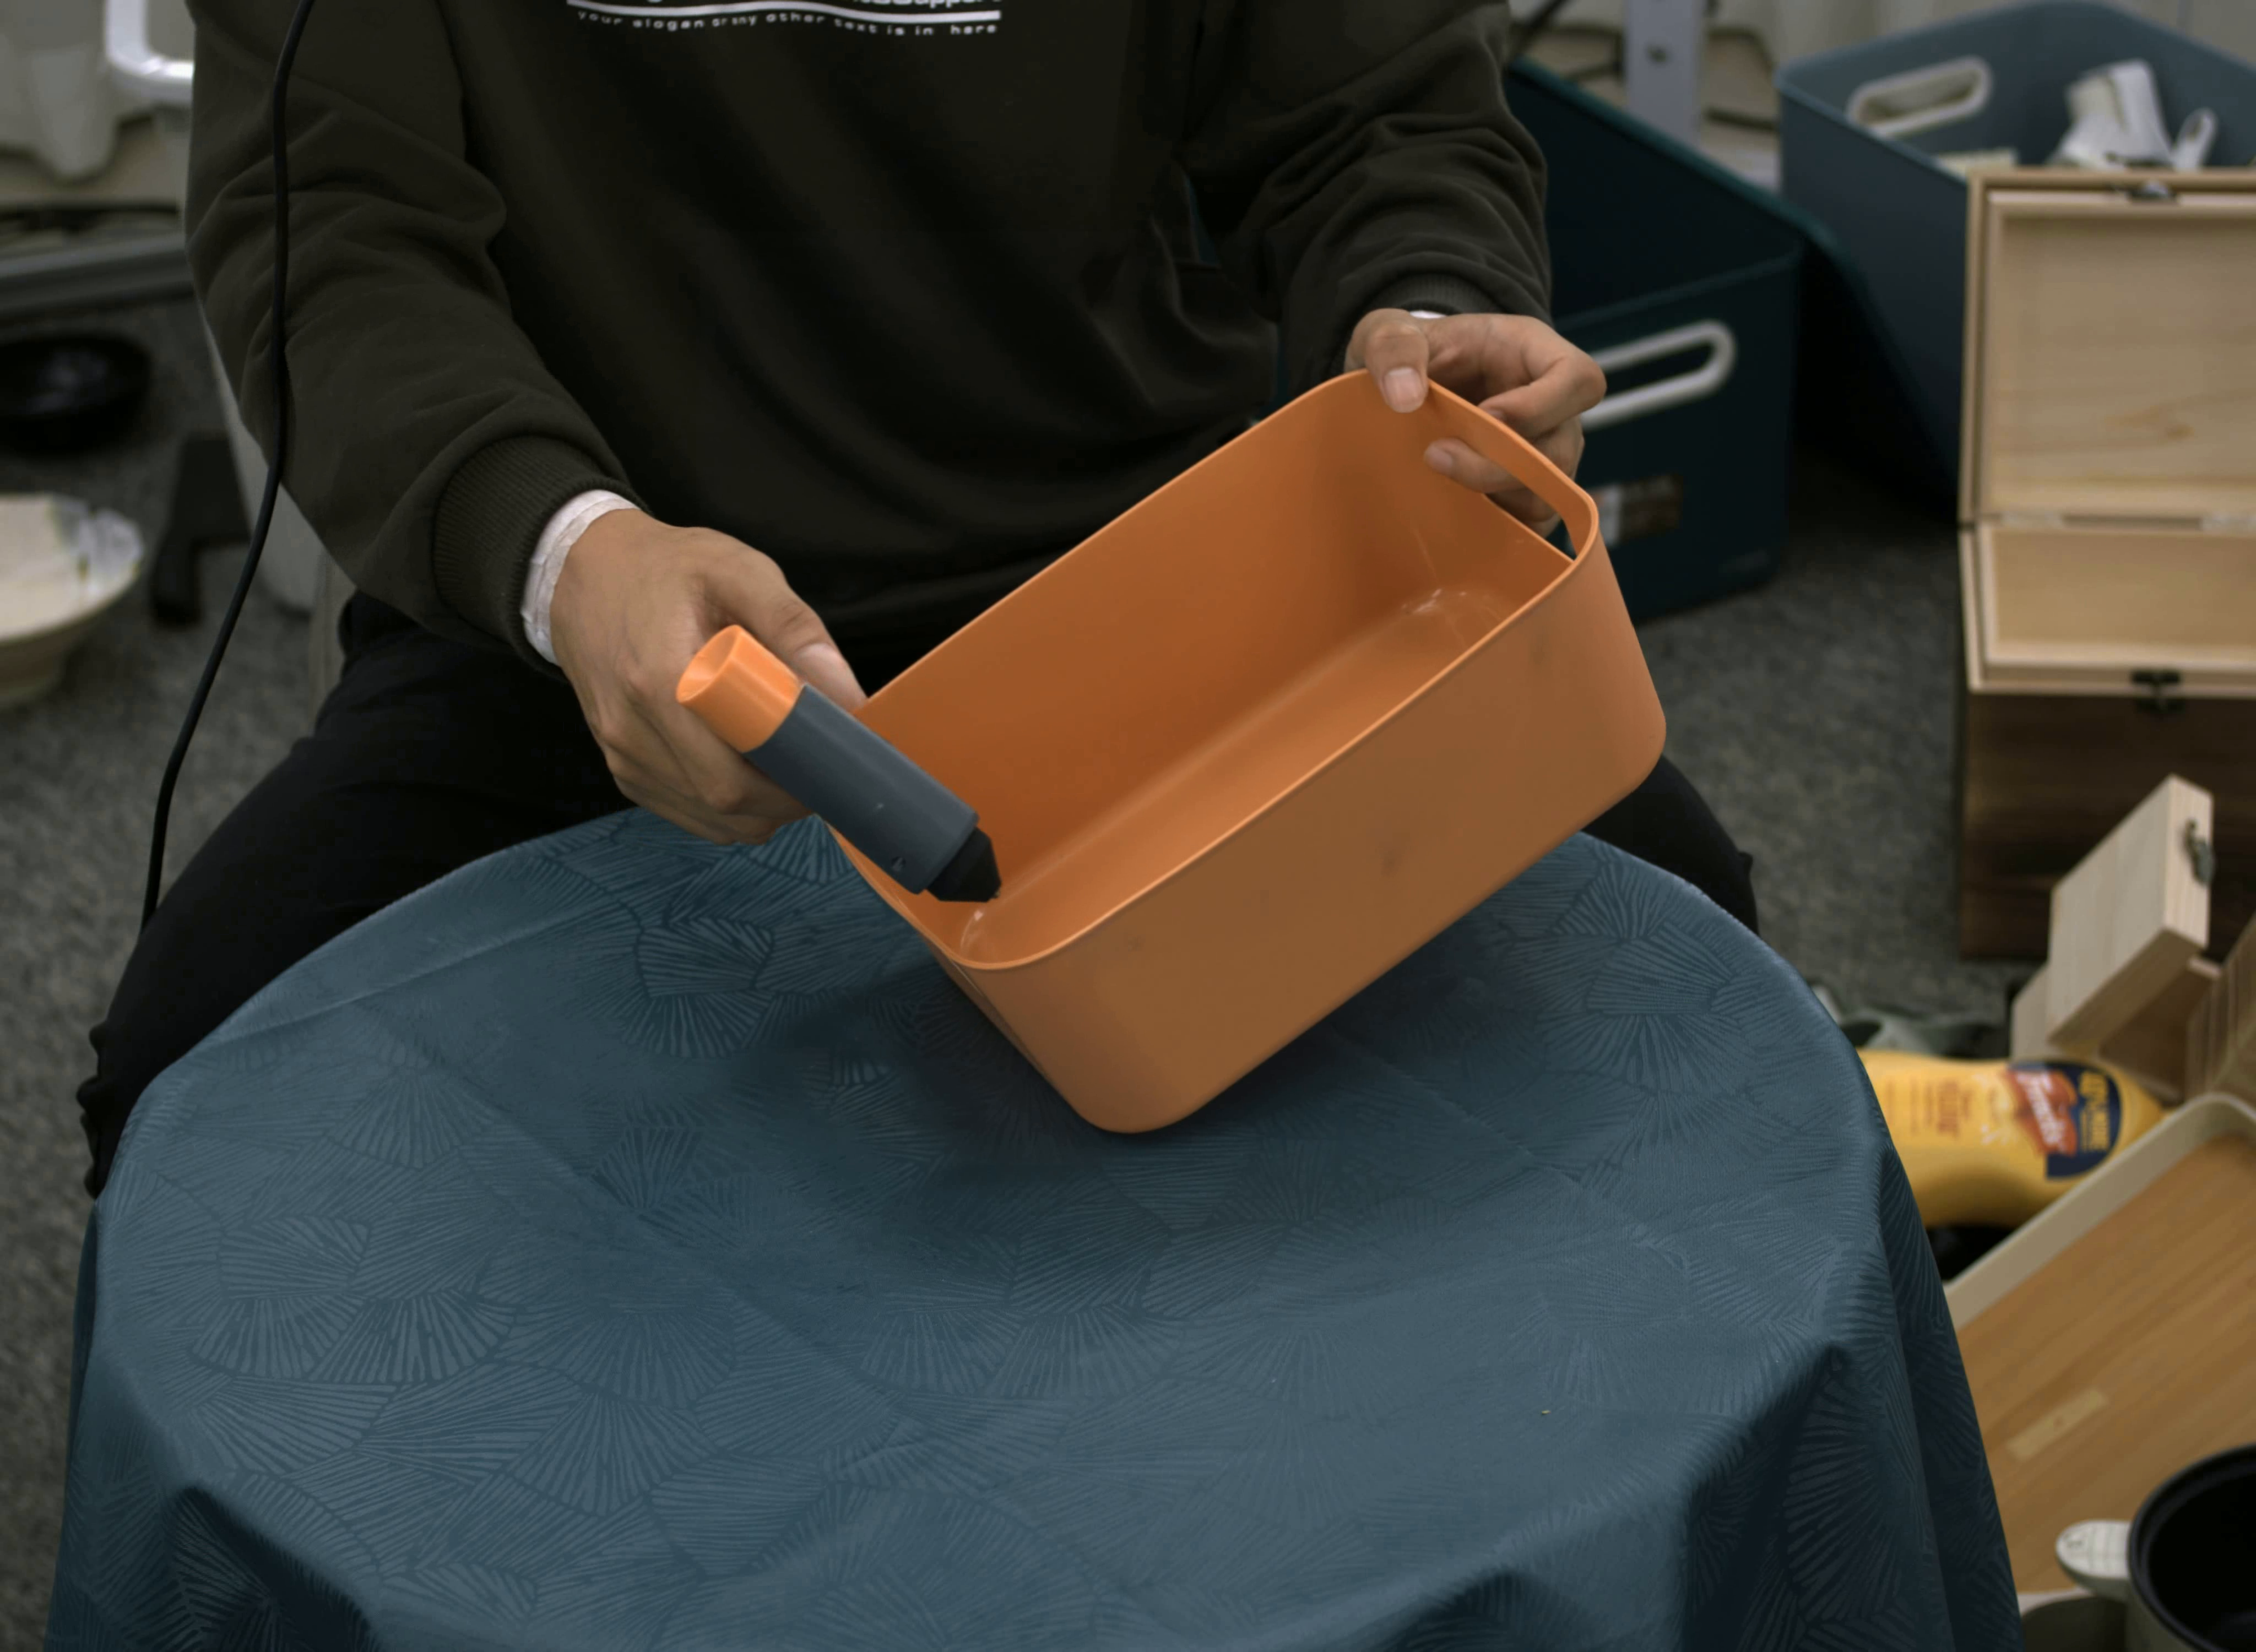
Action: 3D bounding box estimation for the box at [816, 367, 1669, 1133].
[{"bbox_3d":[0.042,-0.024,1.948,0.274,0.101,0.200,-36,34,-10],"label":"box"}]

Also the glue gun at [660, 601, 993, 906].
[{"bbox_3d":[-0.104,-0.025,1.871,0.041,0.117,0.140,-50,21,0],"label":"glue gun"}]
